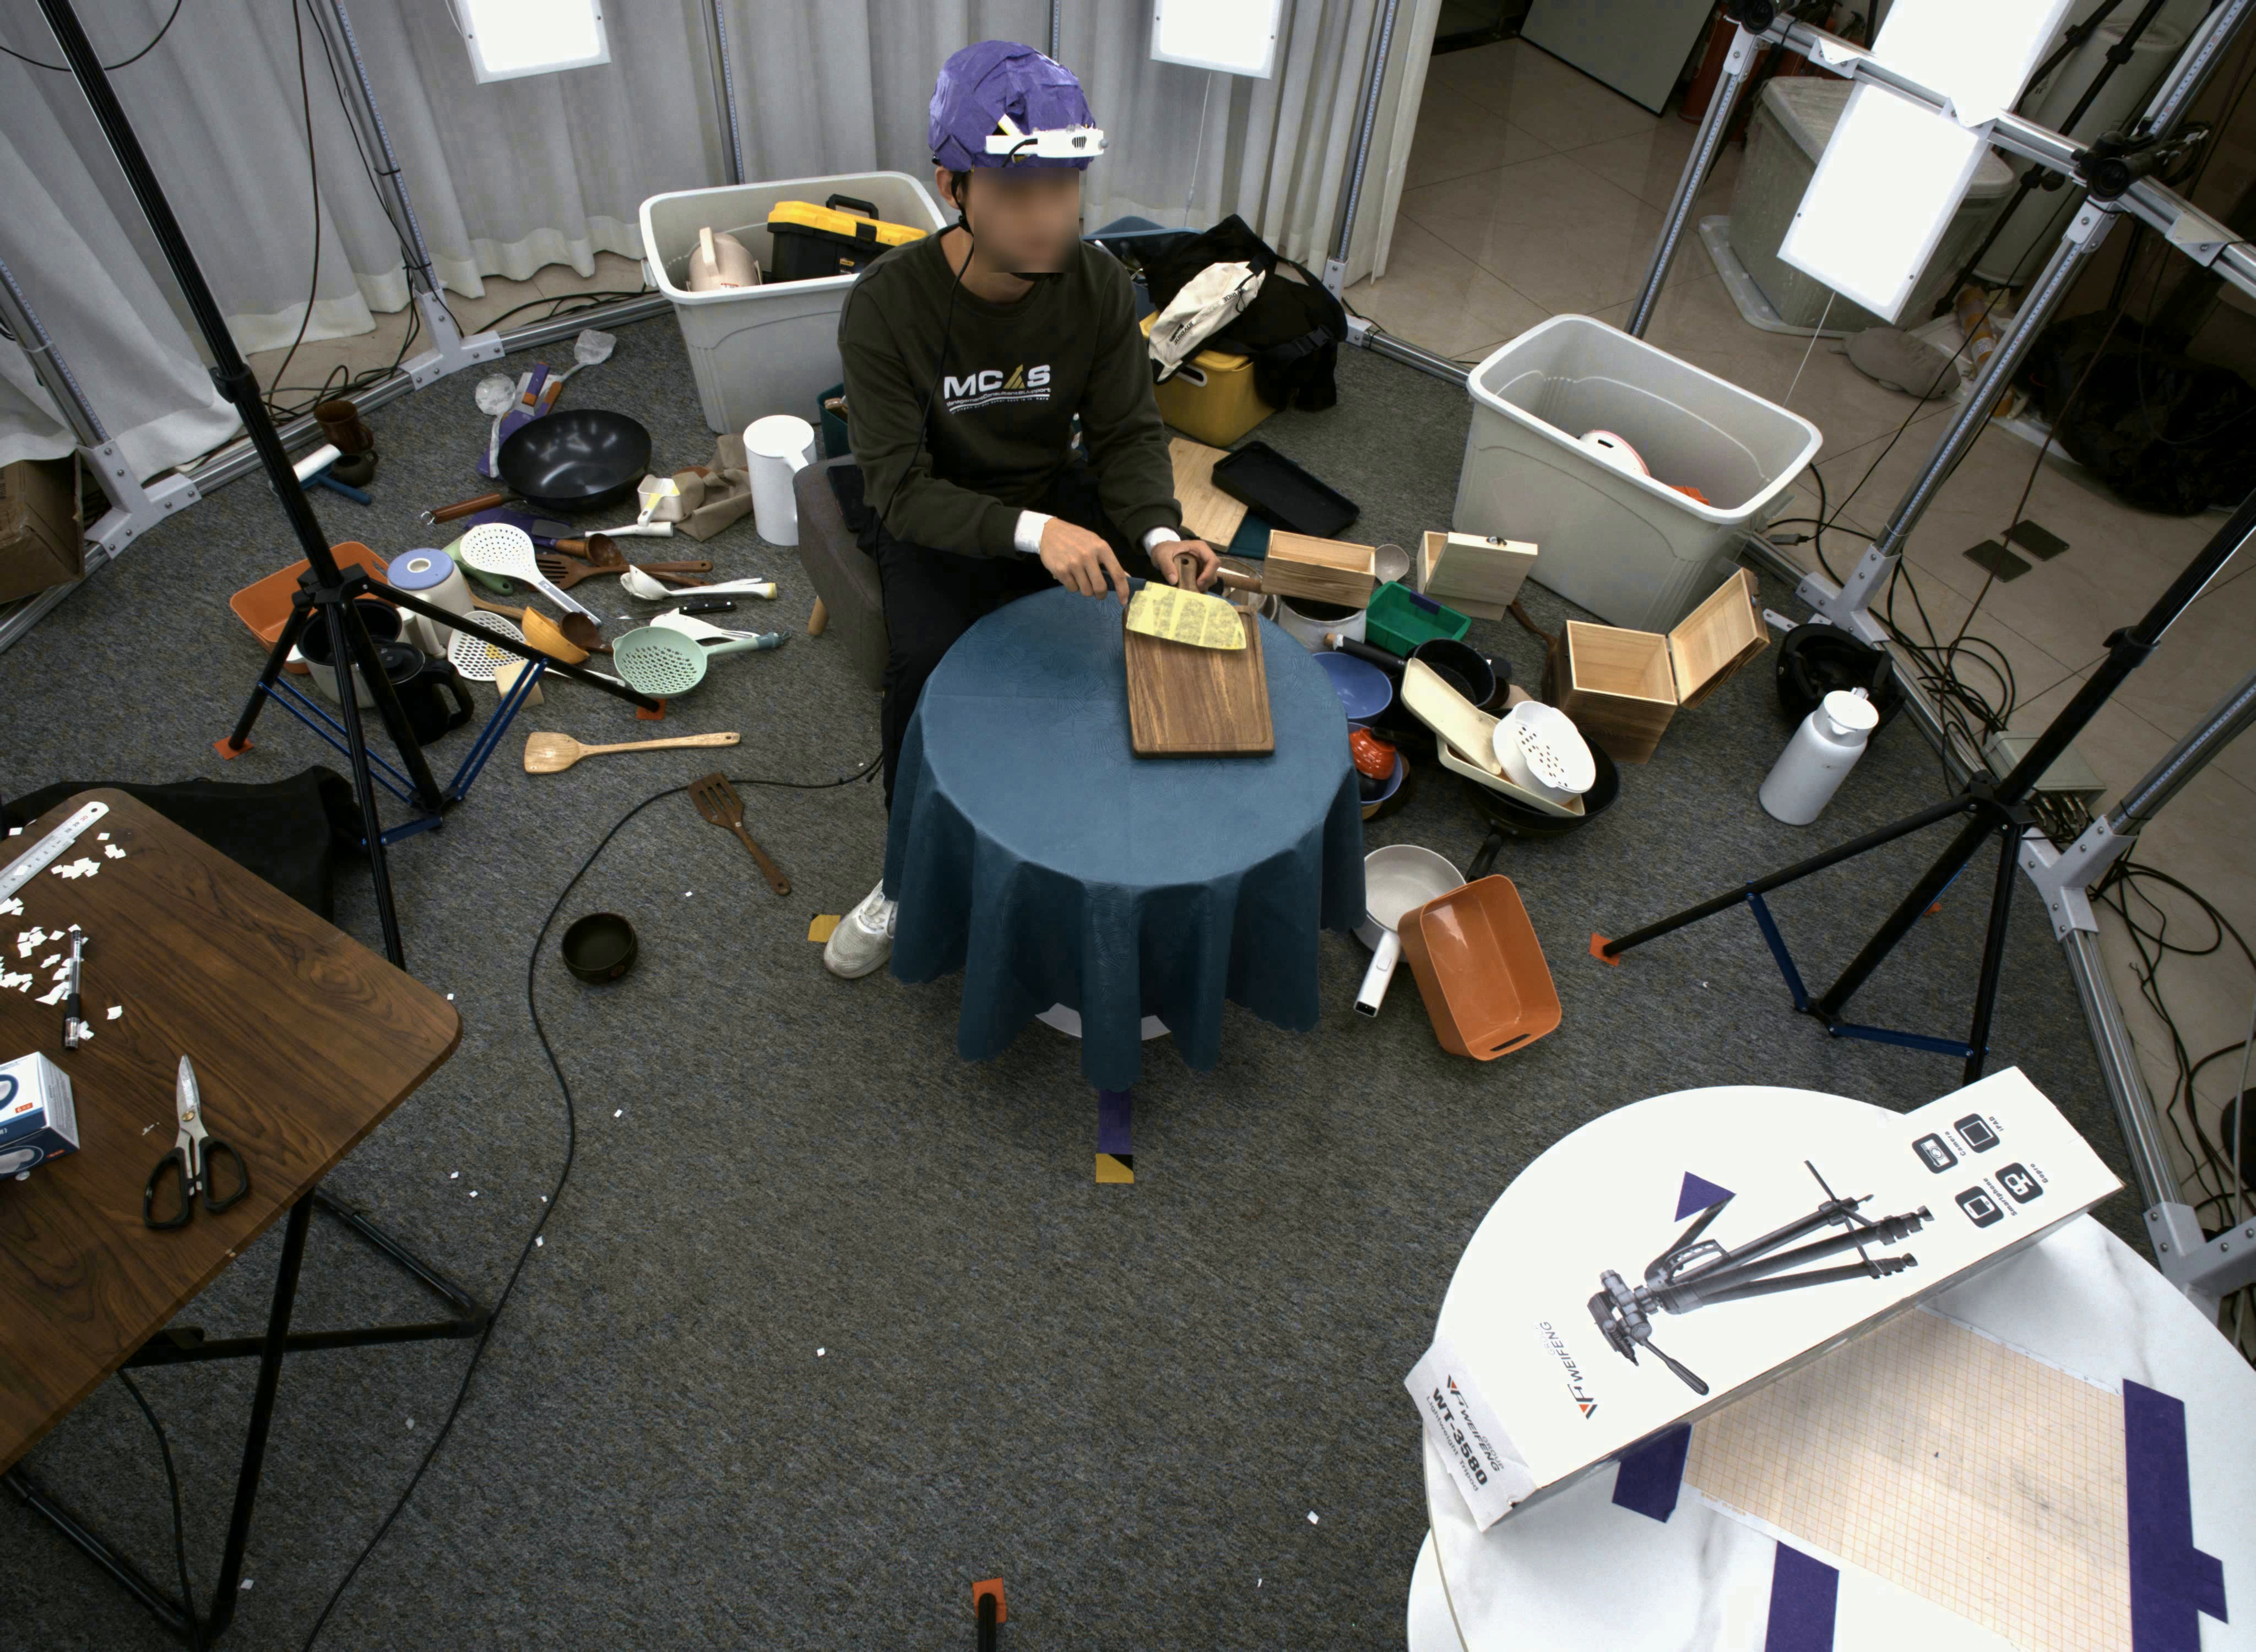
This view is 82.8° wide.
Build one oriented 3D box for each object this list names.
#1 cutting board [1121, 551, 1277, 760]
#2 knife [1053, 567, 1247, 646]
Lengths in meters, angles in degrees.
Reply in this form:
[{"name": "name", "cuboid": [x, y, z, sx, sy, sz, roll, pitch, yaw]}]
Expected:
[{"name": "cutting board", "cuboid": [0.094, -0.251, 1.835, 0.201, 0.023, 0.360, -1, 60, -5]}, {"name": "knife", "cuboid": [0.030, -0.311, 1.820, 0.289, 0.027, 0.081, 16, 89, 3]}]
